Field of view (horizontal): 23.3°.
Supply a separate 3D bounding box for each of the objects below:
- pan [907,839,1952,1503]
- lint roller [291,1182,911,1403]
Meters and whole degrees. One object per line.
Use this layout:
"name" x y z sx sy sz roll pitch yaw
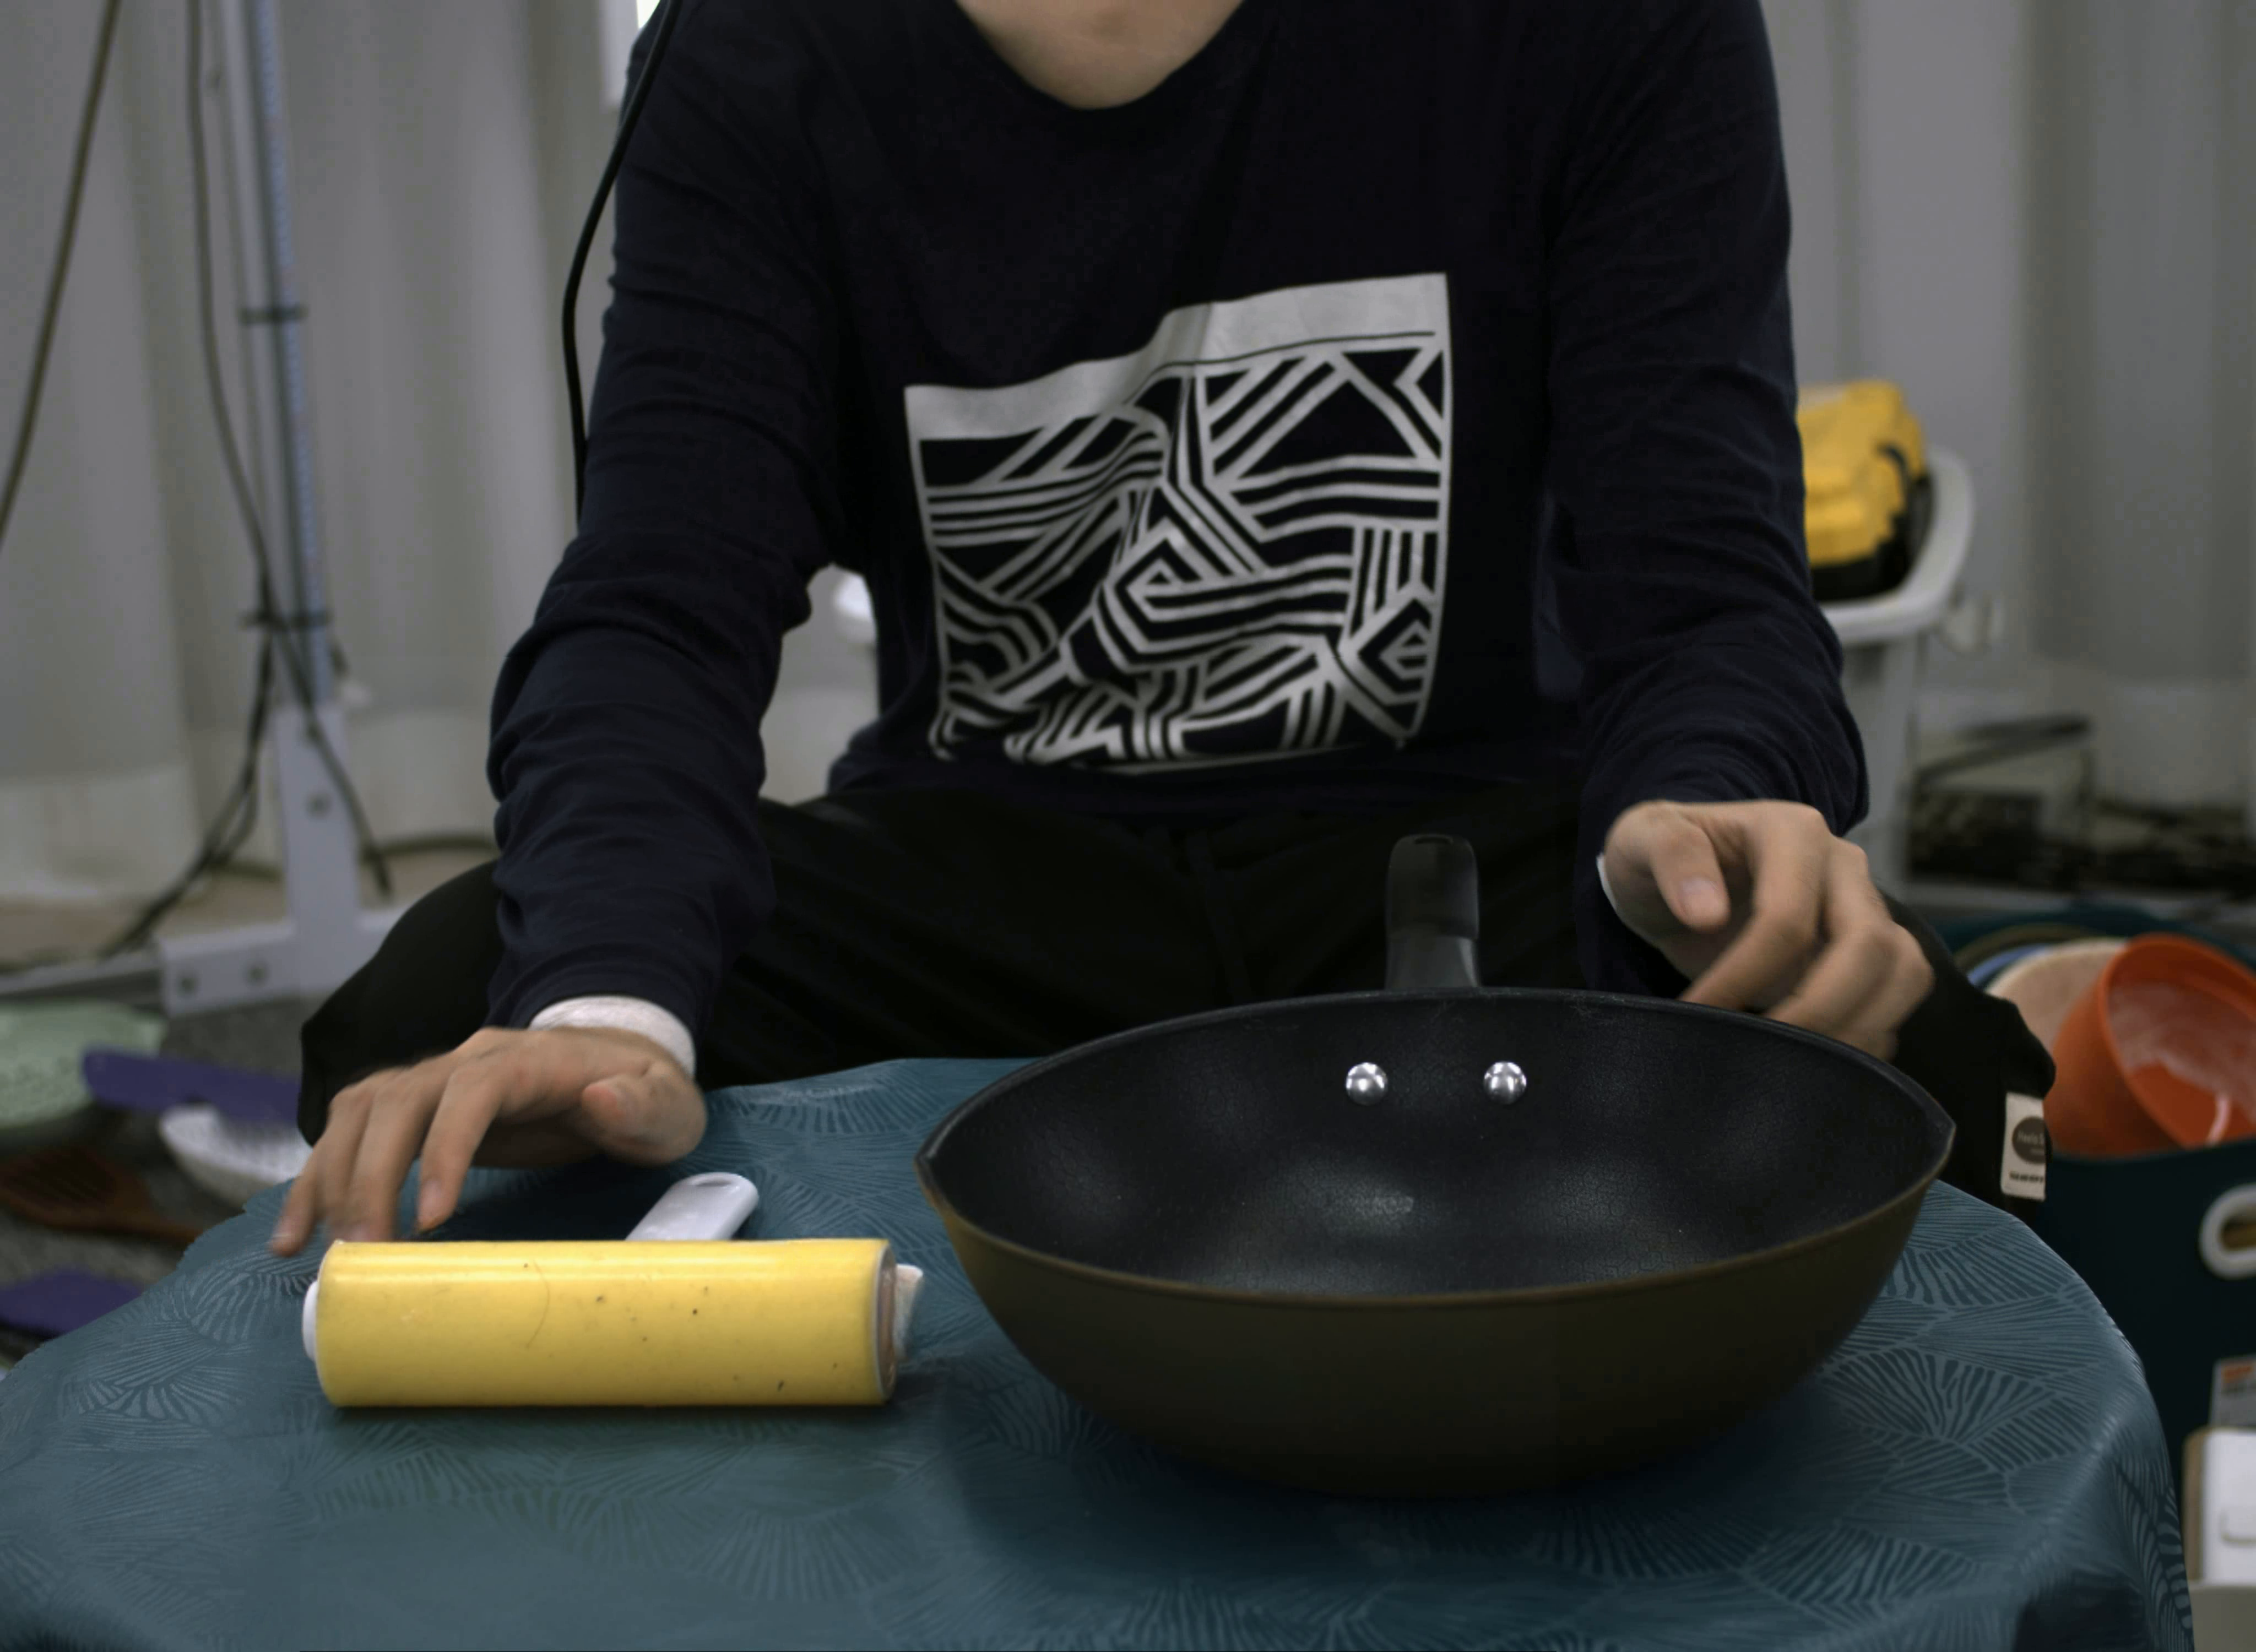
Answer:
"pan" 0.088 0.098 1.603 0.287 0.086 0.466 -1 14 3
"lint roller" -0.143 0.123 1.623 0.174 0.051 0.193 -1 16 7
